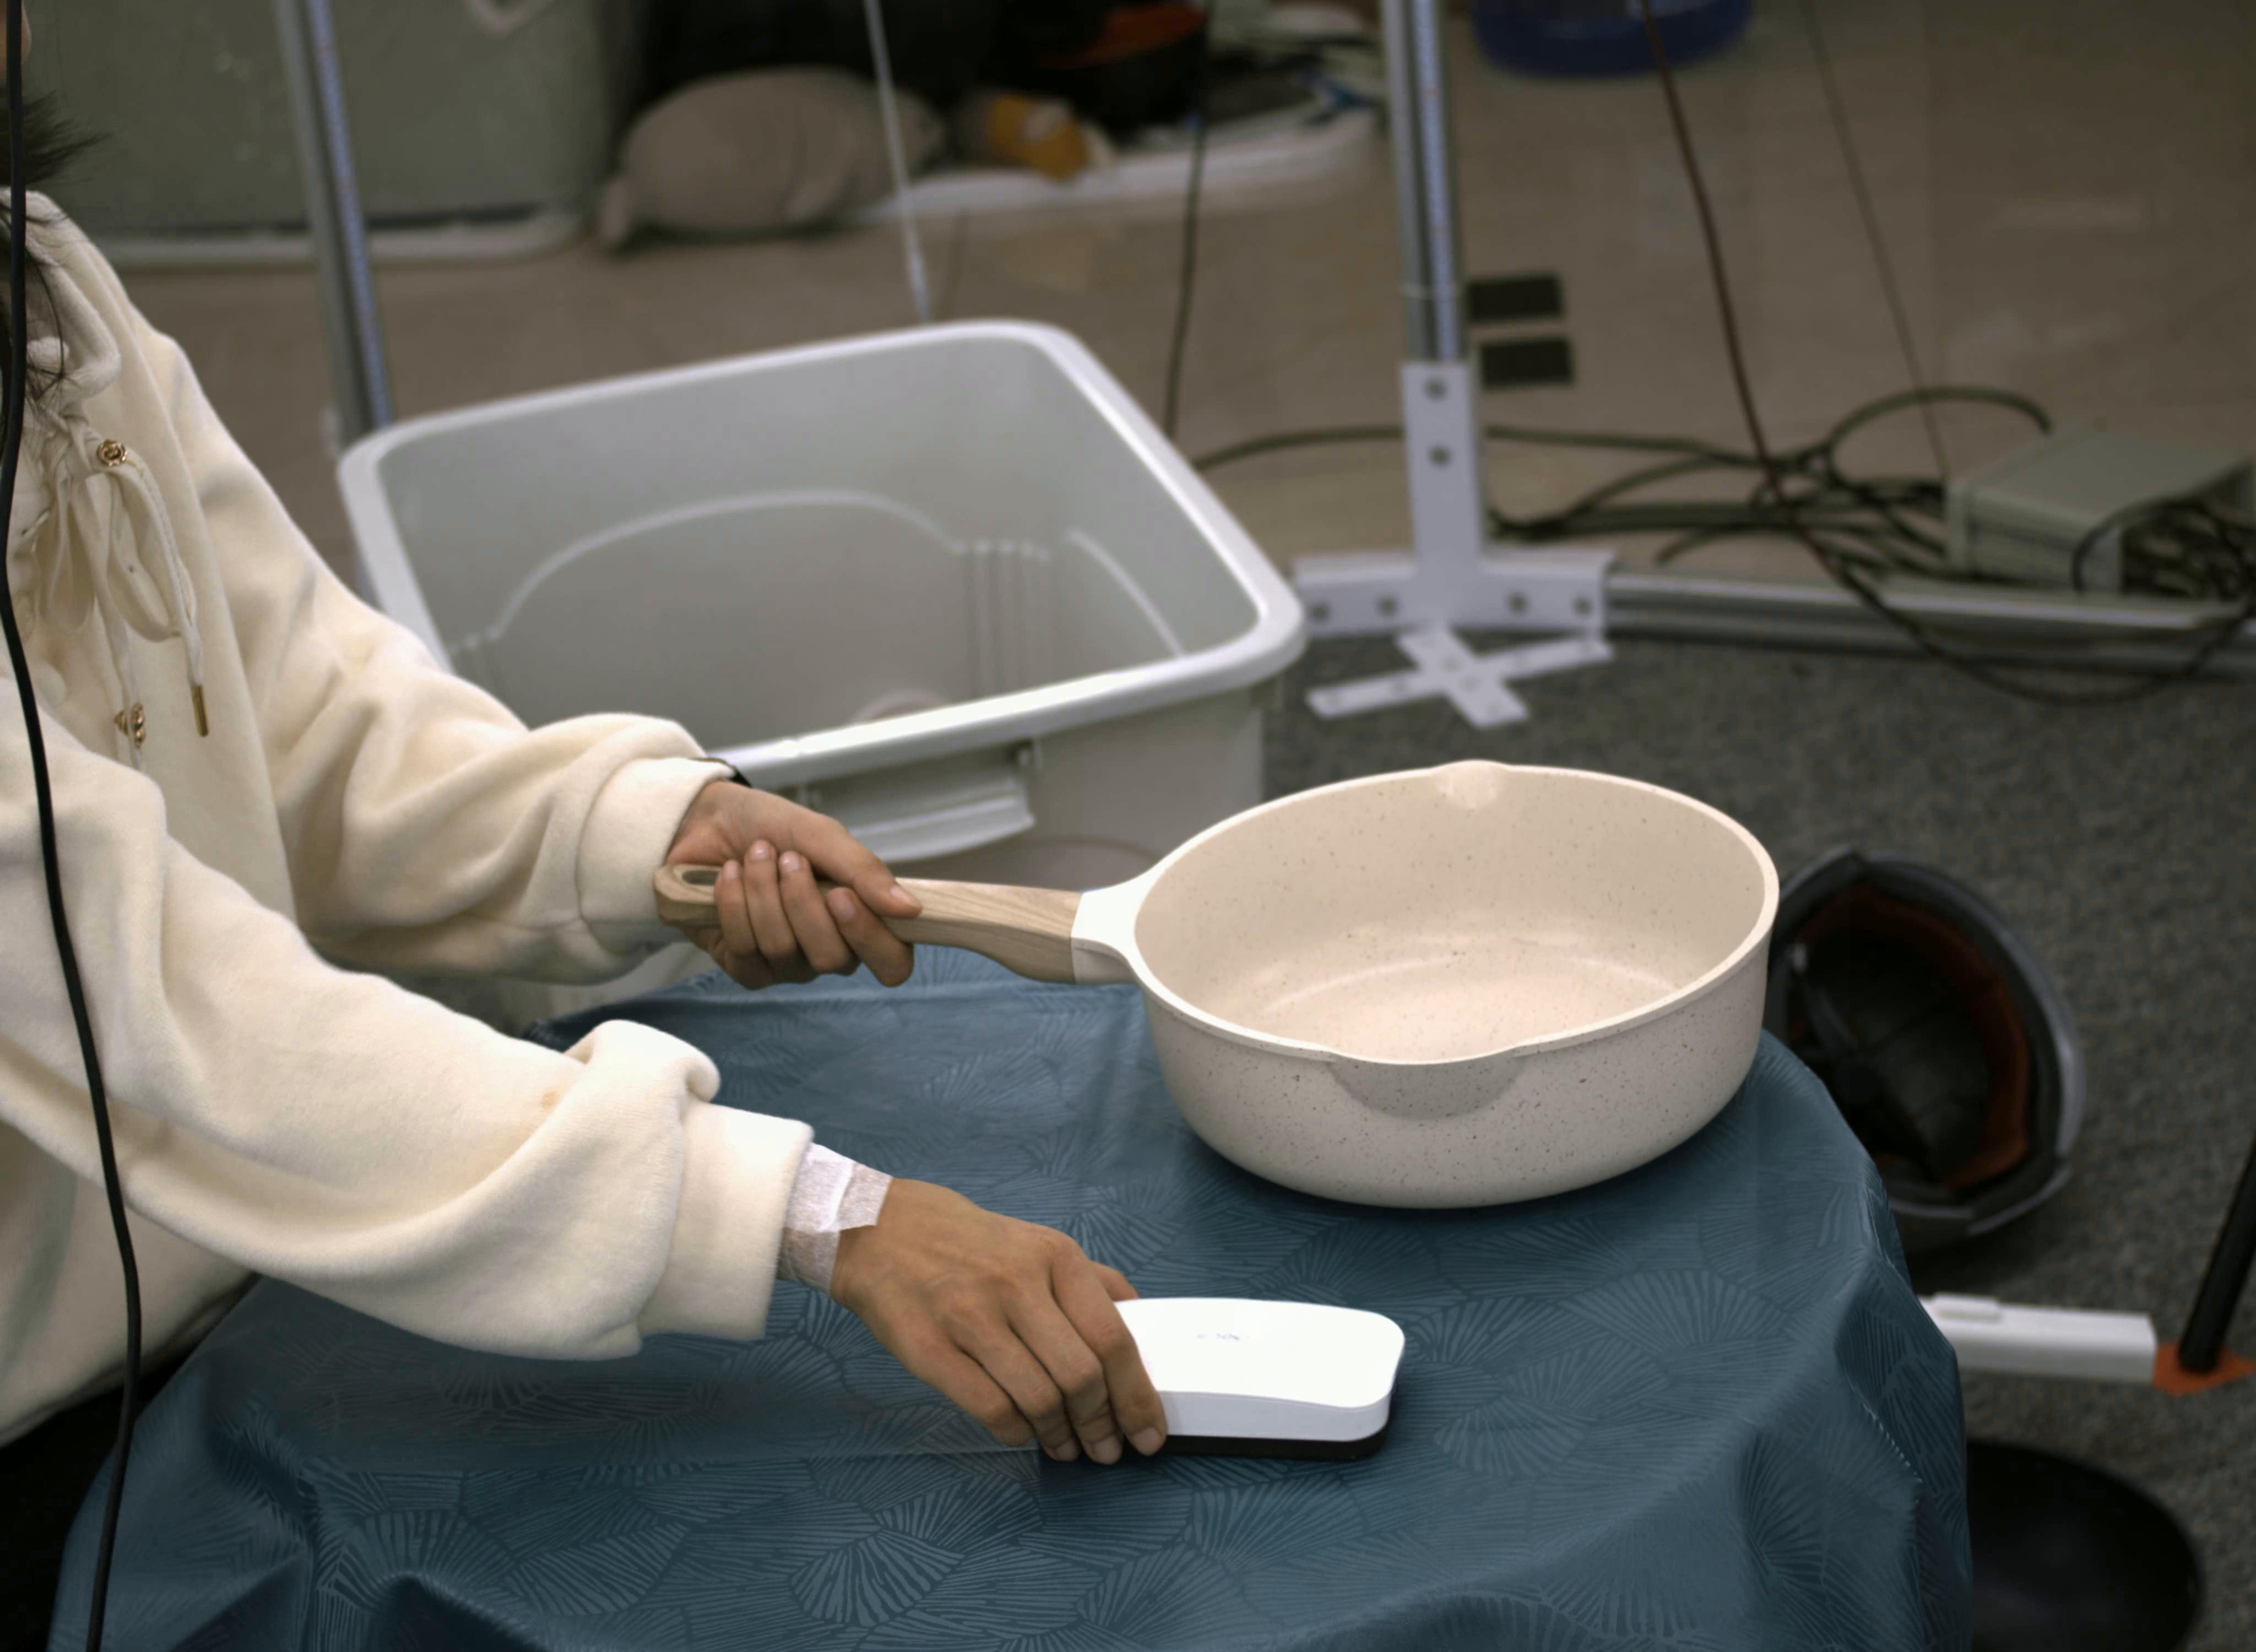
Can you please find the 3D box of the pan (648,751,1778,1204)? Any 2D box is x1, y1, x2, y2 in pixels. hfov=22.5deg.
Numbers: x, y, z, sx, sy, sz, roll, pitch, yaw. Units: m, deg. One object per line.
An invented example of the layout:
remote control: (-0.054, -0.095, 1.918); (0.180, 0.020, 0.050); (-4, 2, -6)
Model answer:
pan: (0.034, 0.059, 2.188); (0.434, 0.103, 0.259); (-2, 27, 8)

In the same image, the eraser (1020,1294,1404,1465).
eraser: (0.030, 0.194, 1.985); (0.131, 0.035, 0.062); (1, 25, 14)
